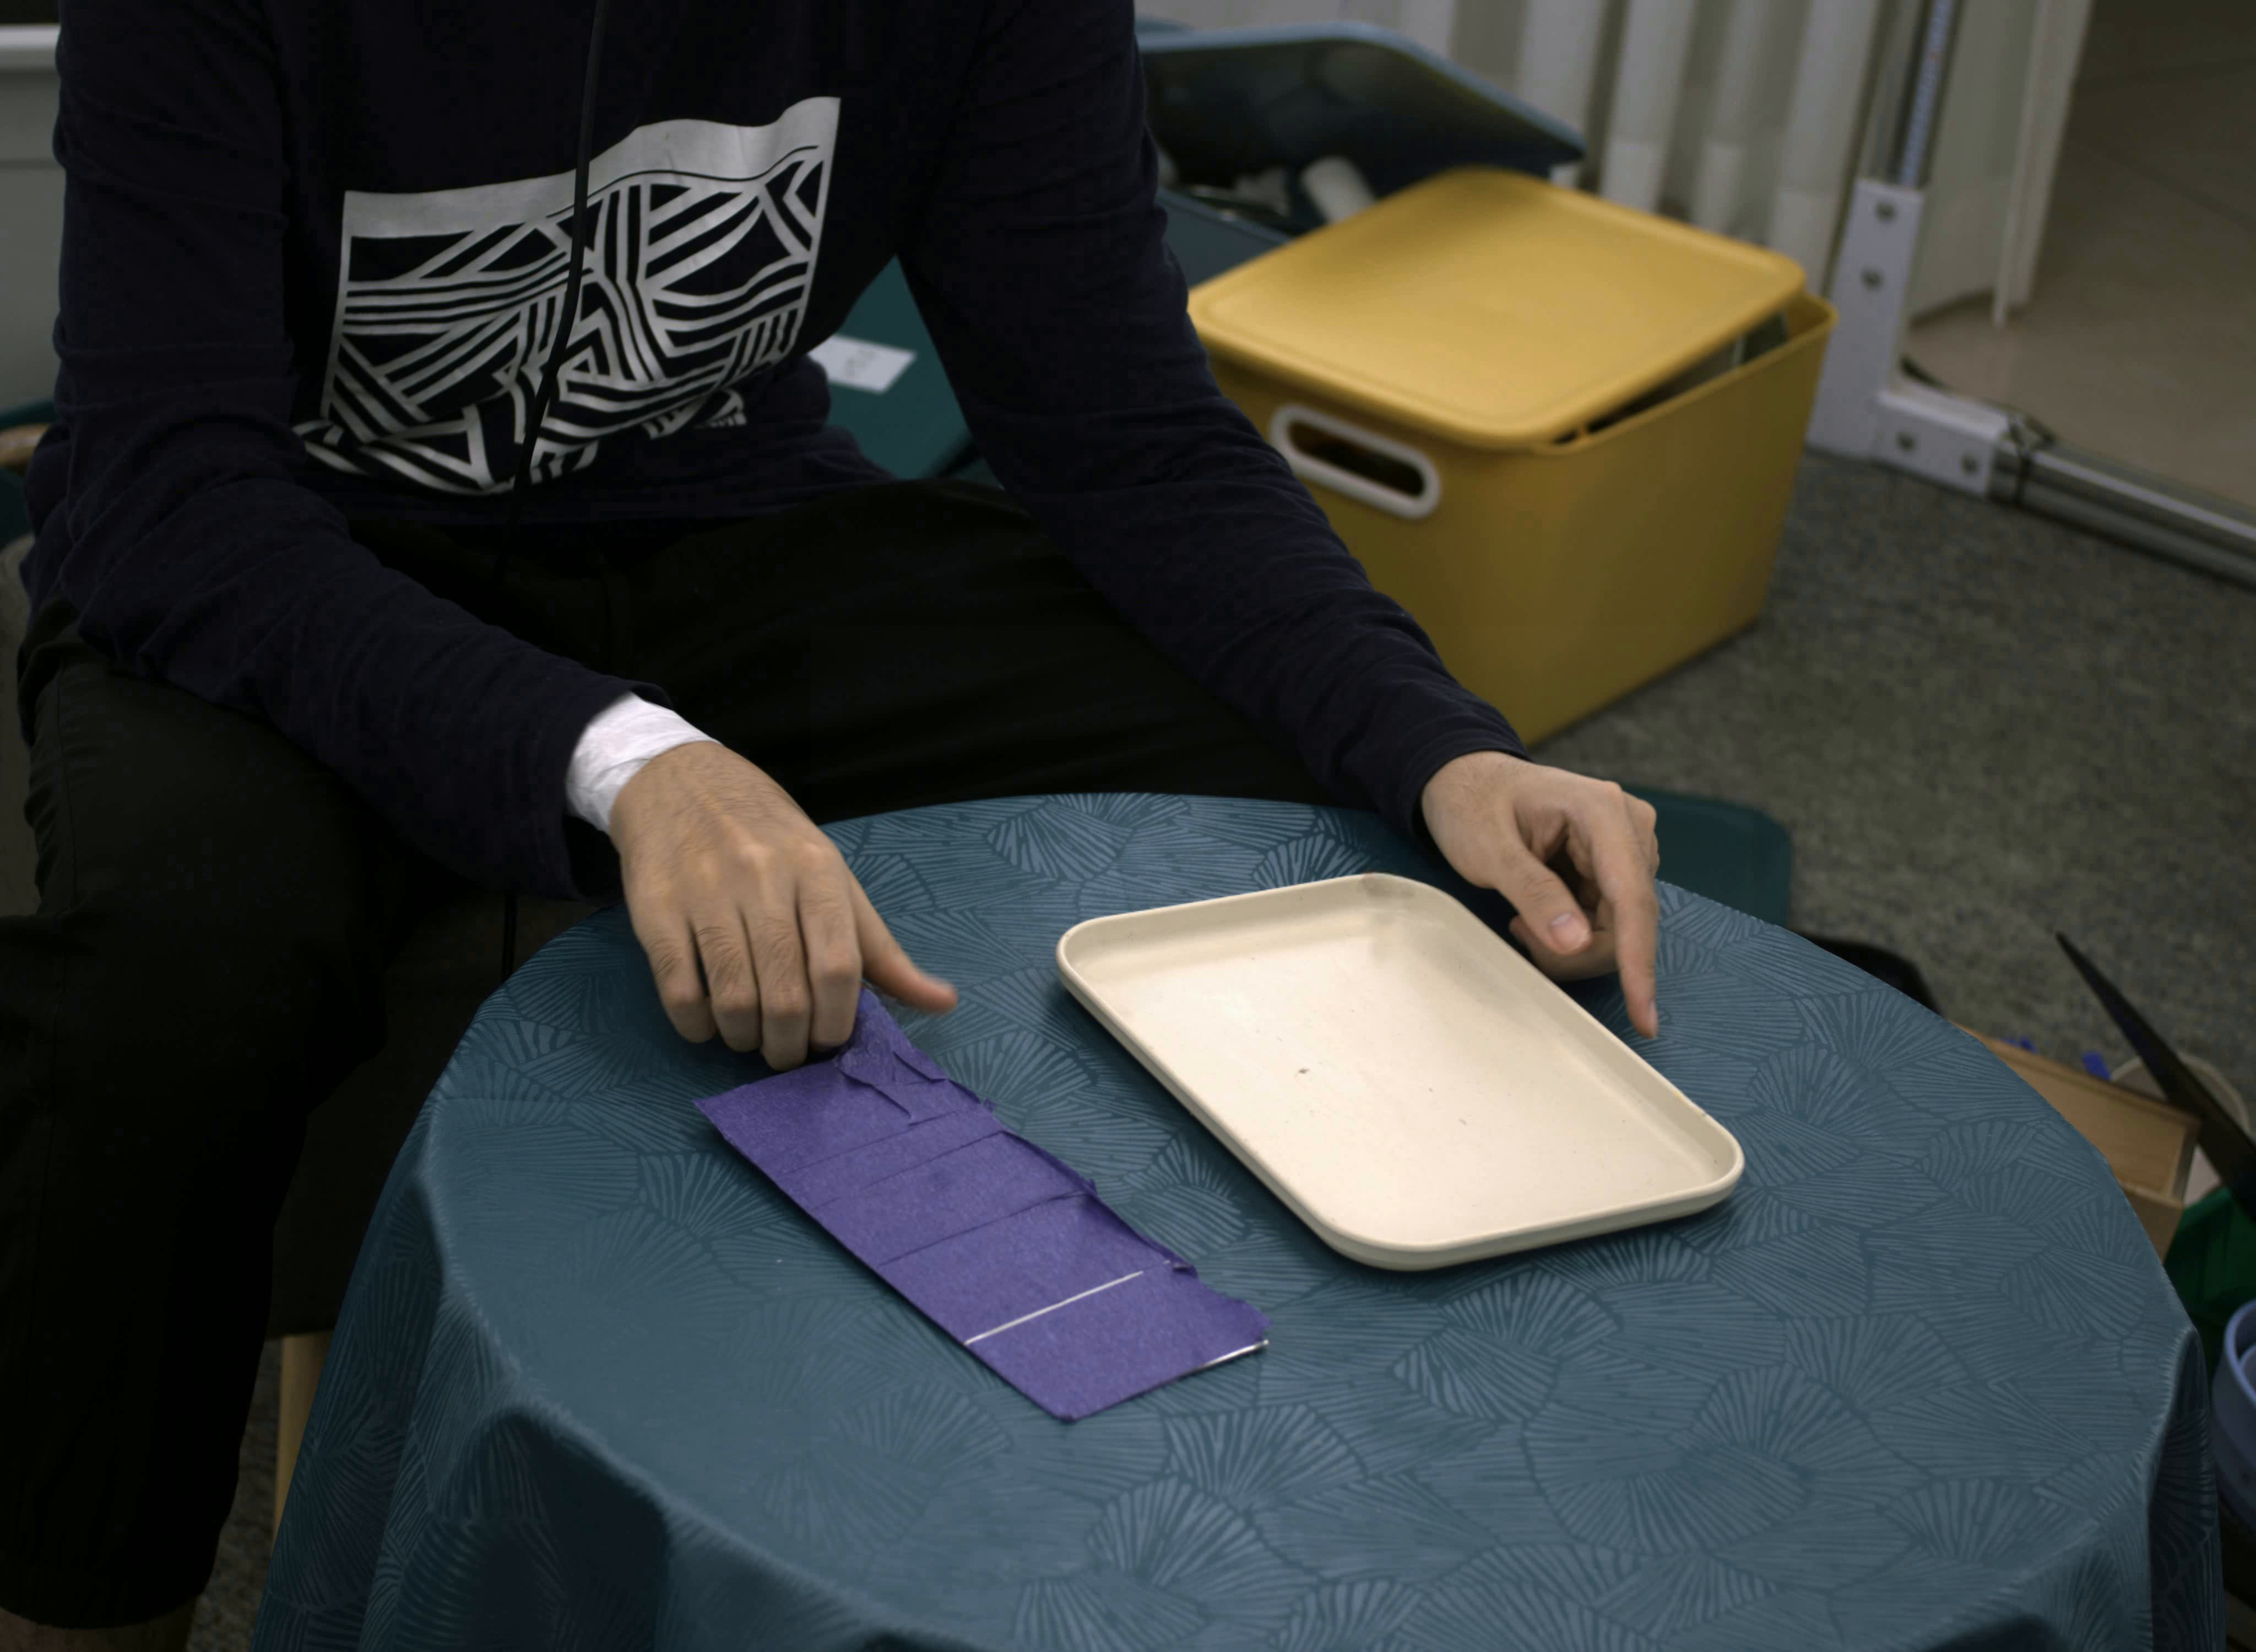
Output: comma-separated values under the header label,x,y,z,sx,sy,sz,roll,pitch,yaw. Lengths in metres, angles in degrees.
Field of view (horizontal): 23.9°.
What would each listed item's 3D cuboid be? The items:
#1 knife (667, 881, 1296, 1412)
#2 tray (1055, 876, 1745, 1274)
label,x,y,z,sx,sy,sz,roll,pitch,yaw
knife,-0.080,0.104,1.798,0.103,0.032,0.318,-16,35,-36
tray,0.093,0.086,1.881,0.170,0.017,0.242,-9,31,-28
